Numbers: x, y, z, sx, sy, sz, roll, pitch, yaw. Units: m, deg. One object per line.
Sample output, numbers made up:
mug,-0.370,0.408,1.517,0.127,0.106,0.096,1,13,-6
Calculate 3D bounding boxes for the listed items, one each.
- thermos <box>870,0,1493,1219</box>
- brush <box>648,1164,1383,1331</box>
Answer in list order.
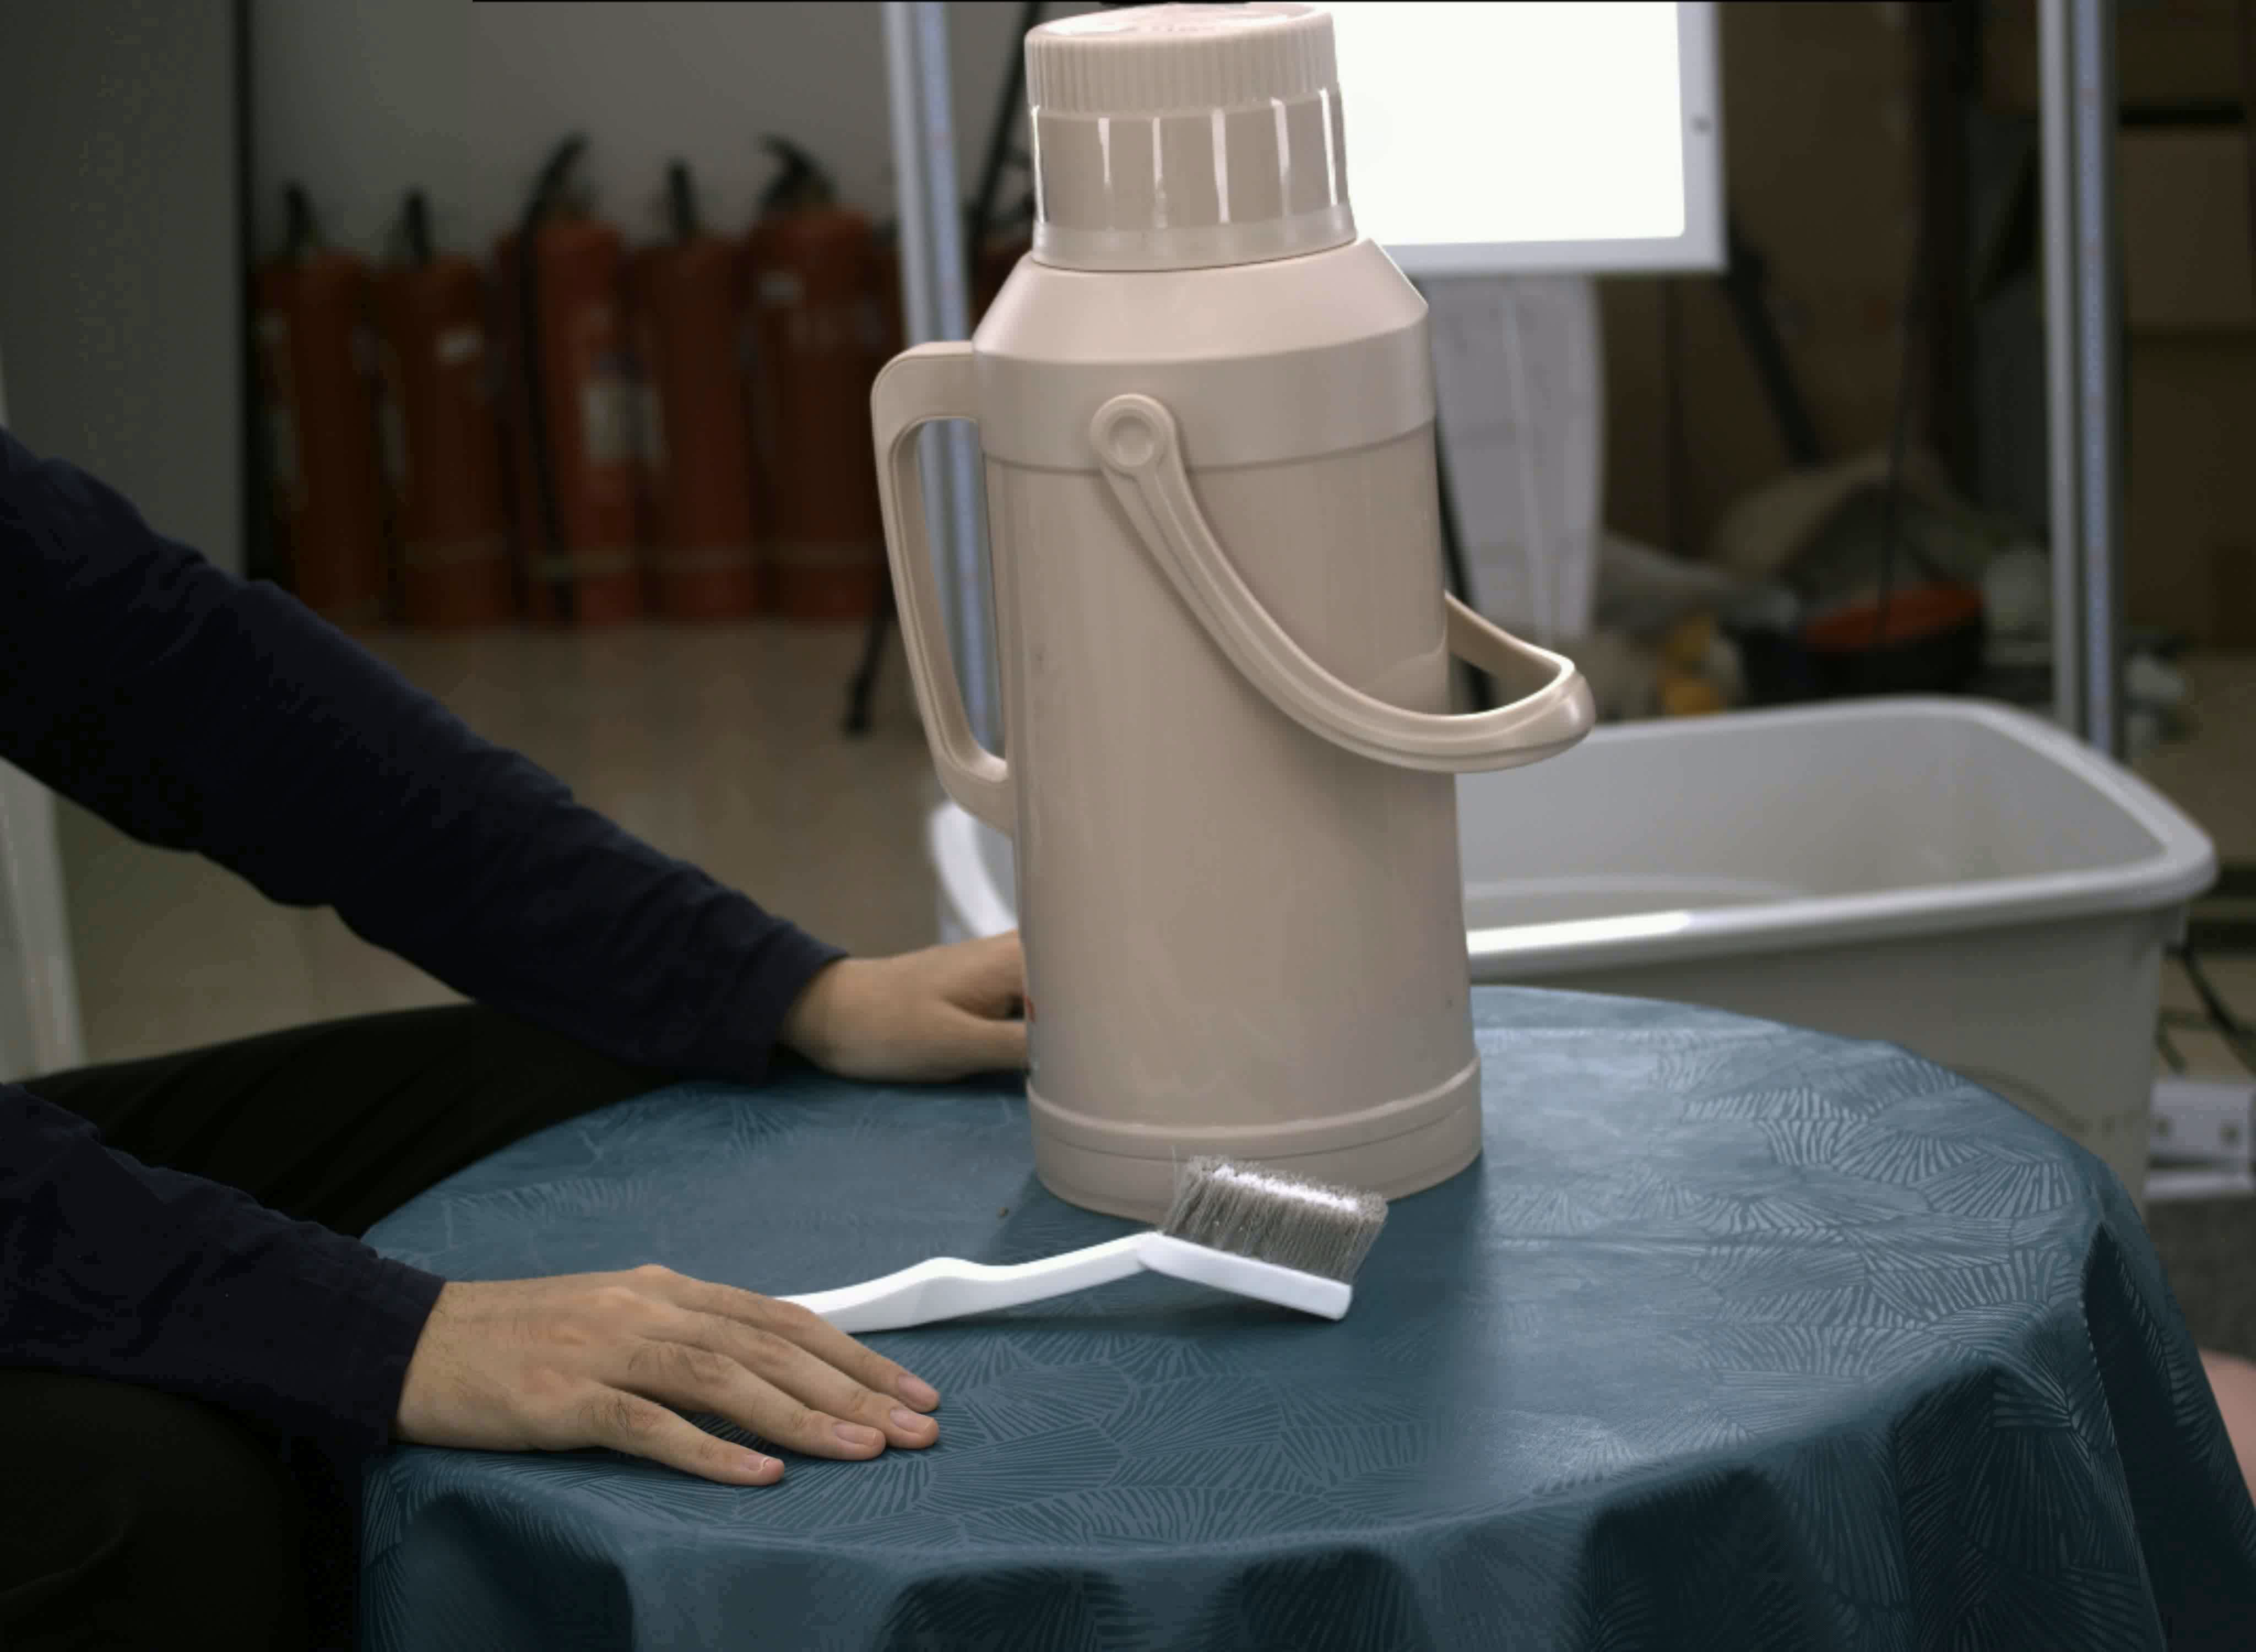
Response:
thermos,0.019,-0.077,1.888,0.209,0.408,0.172,0,16,18
brush,-0.038,0.136,1.773,0.245,0.050,0.034,-2,18,13
